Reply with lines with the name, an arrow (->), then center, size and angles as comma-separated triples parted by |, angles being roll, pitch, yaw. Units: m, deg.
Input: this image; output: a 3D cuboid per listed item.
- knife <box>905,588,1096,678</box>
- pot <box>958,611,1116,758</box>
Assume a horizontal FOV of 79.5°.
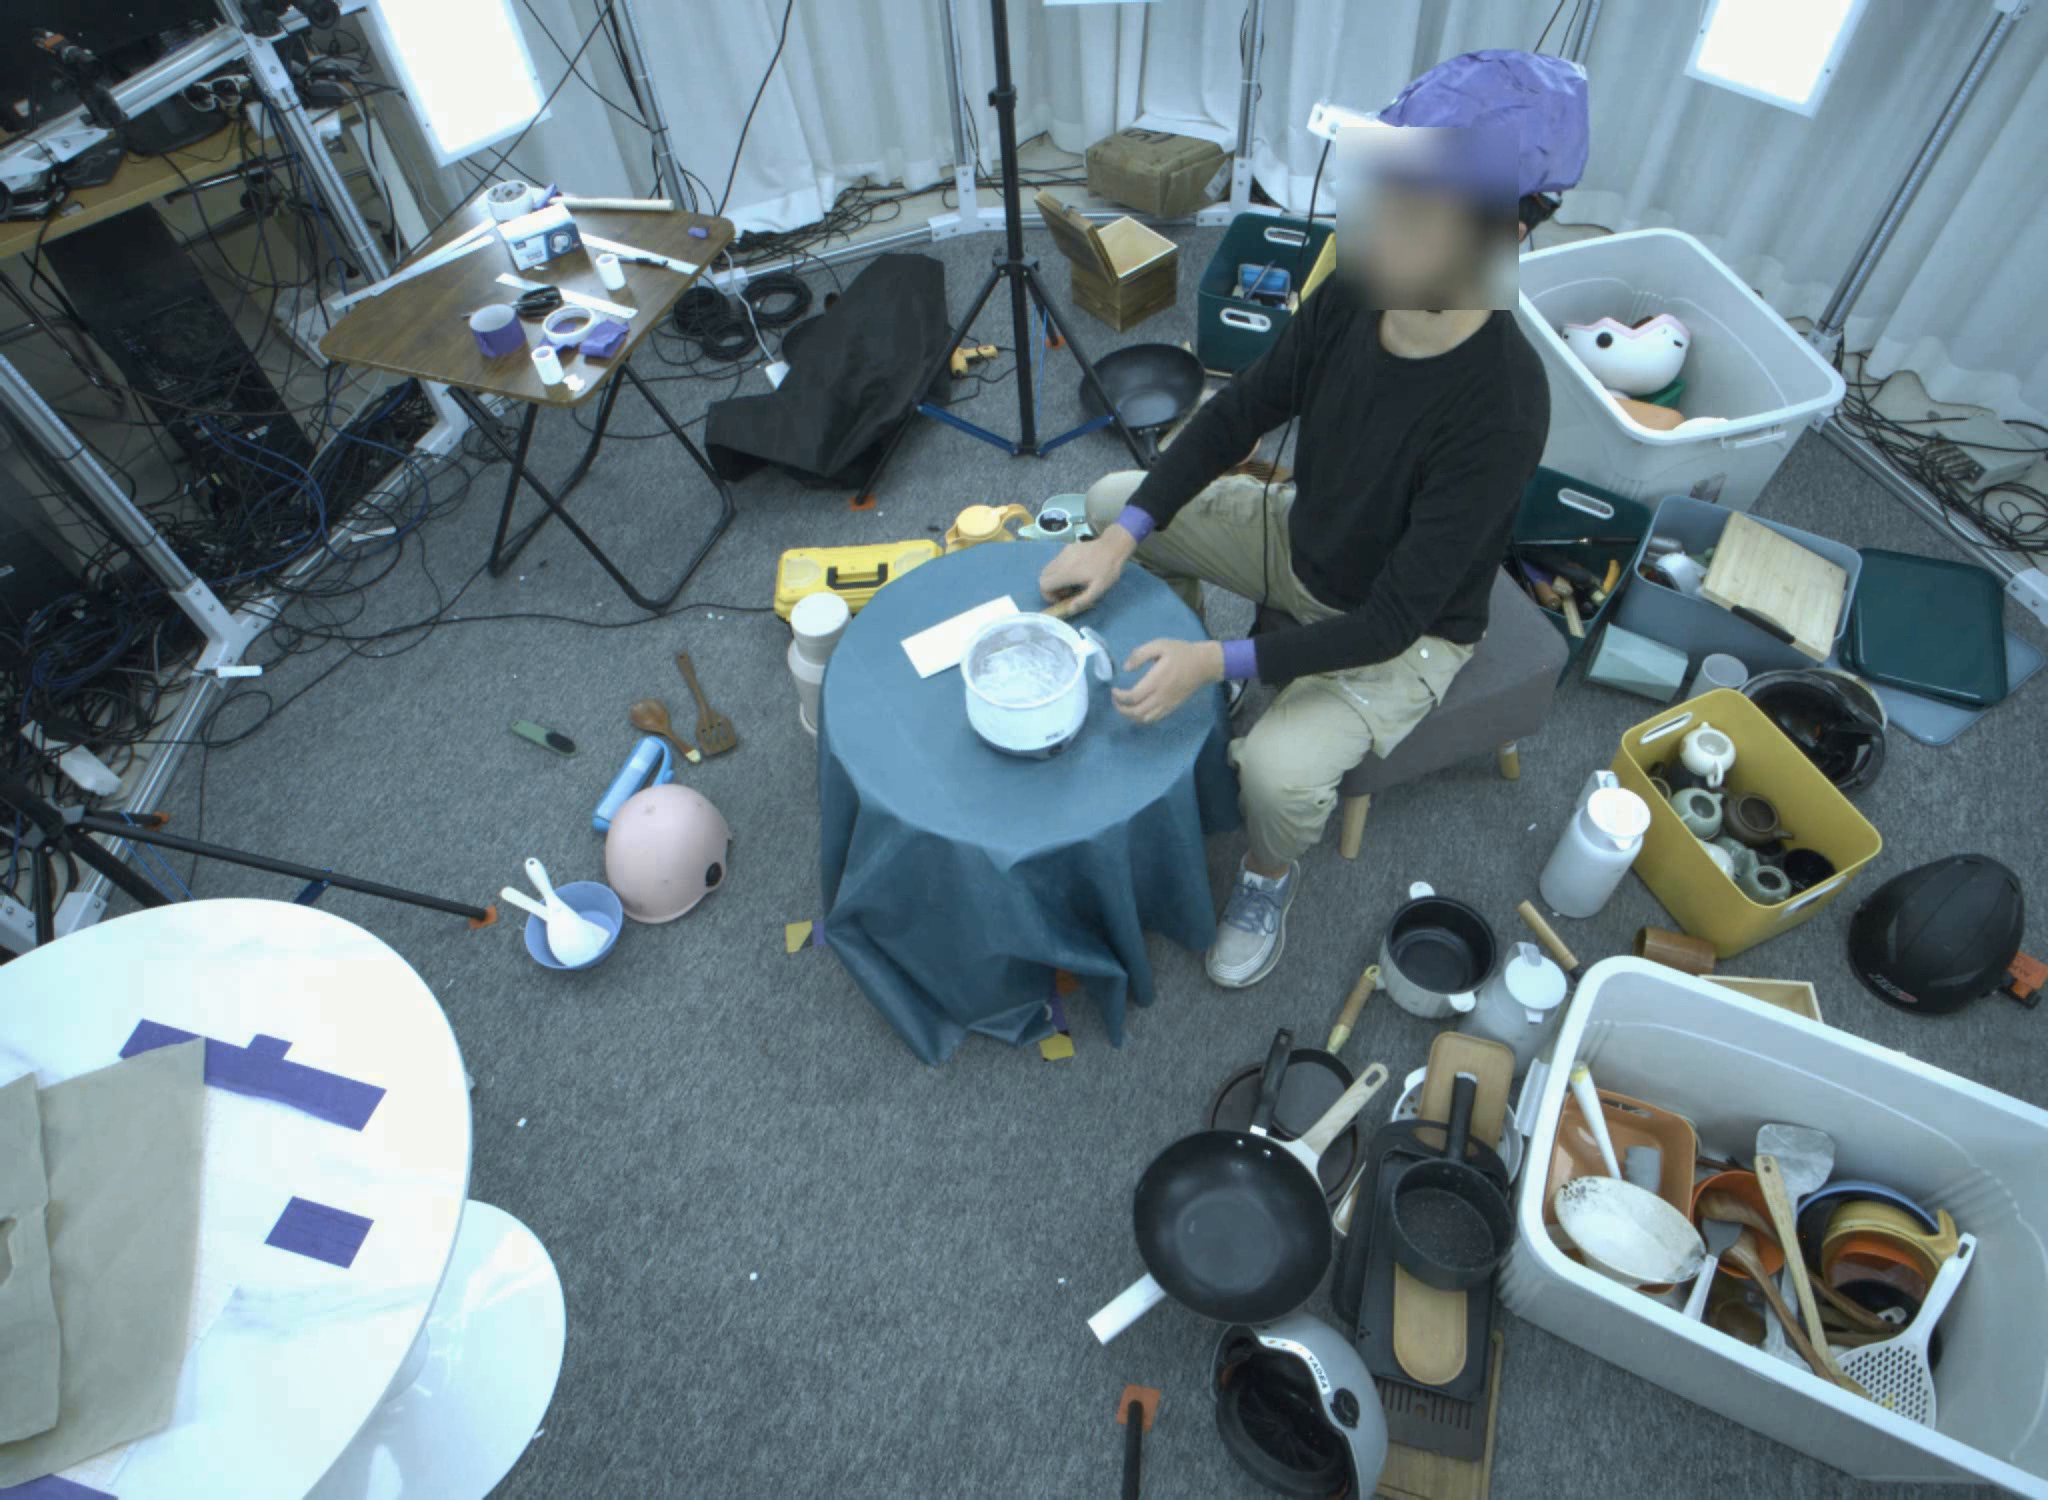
knife -> -0.040, -0.200, 1.919 | 0.308, 0.021, 0.091 | -24, 57, -13
pot -> 0.025, -0.103, 1.769 | 0.235, 0.138, 0.175 | -26, 58, -14
